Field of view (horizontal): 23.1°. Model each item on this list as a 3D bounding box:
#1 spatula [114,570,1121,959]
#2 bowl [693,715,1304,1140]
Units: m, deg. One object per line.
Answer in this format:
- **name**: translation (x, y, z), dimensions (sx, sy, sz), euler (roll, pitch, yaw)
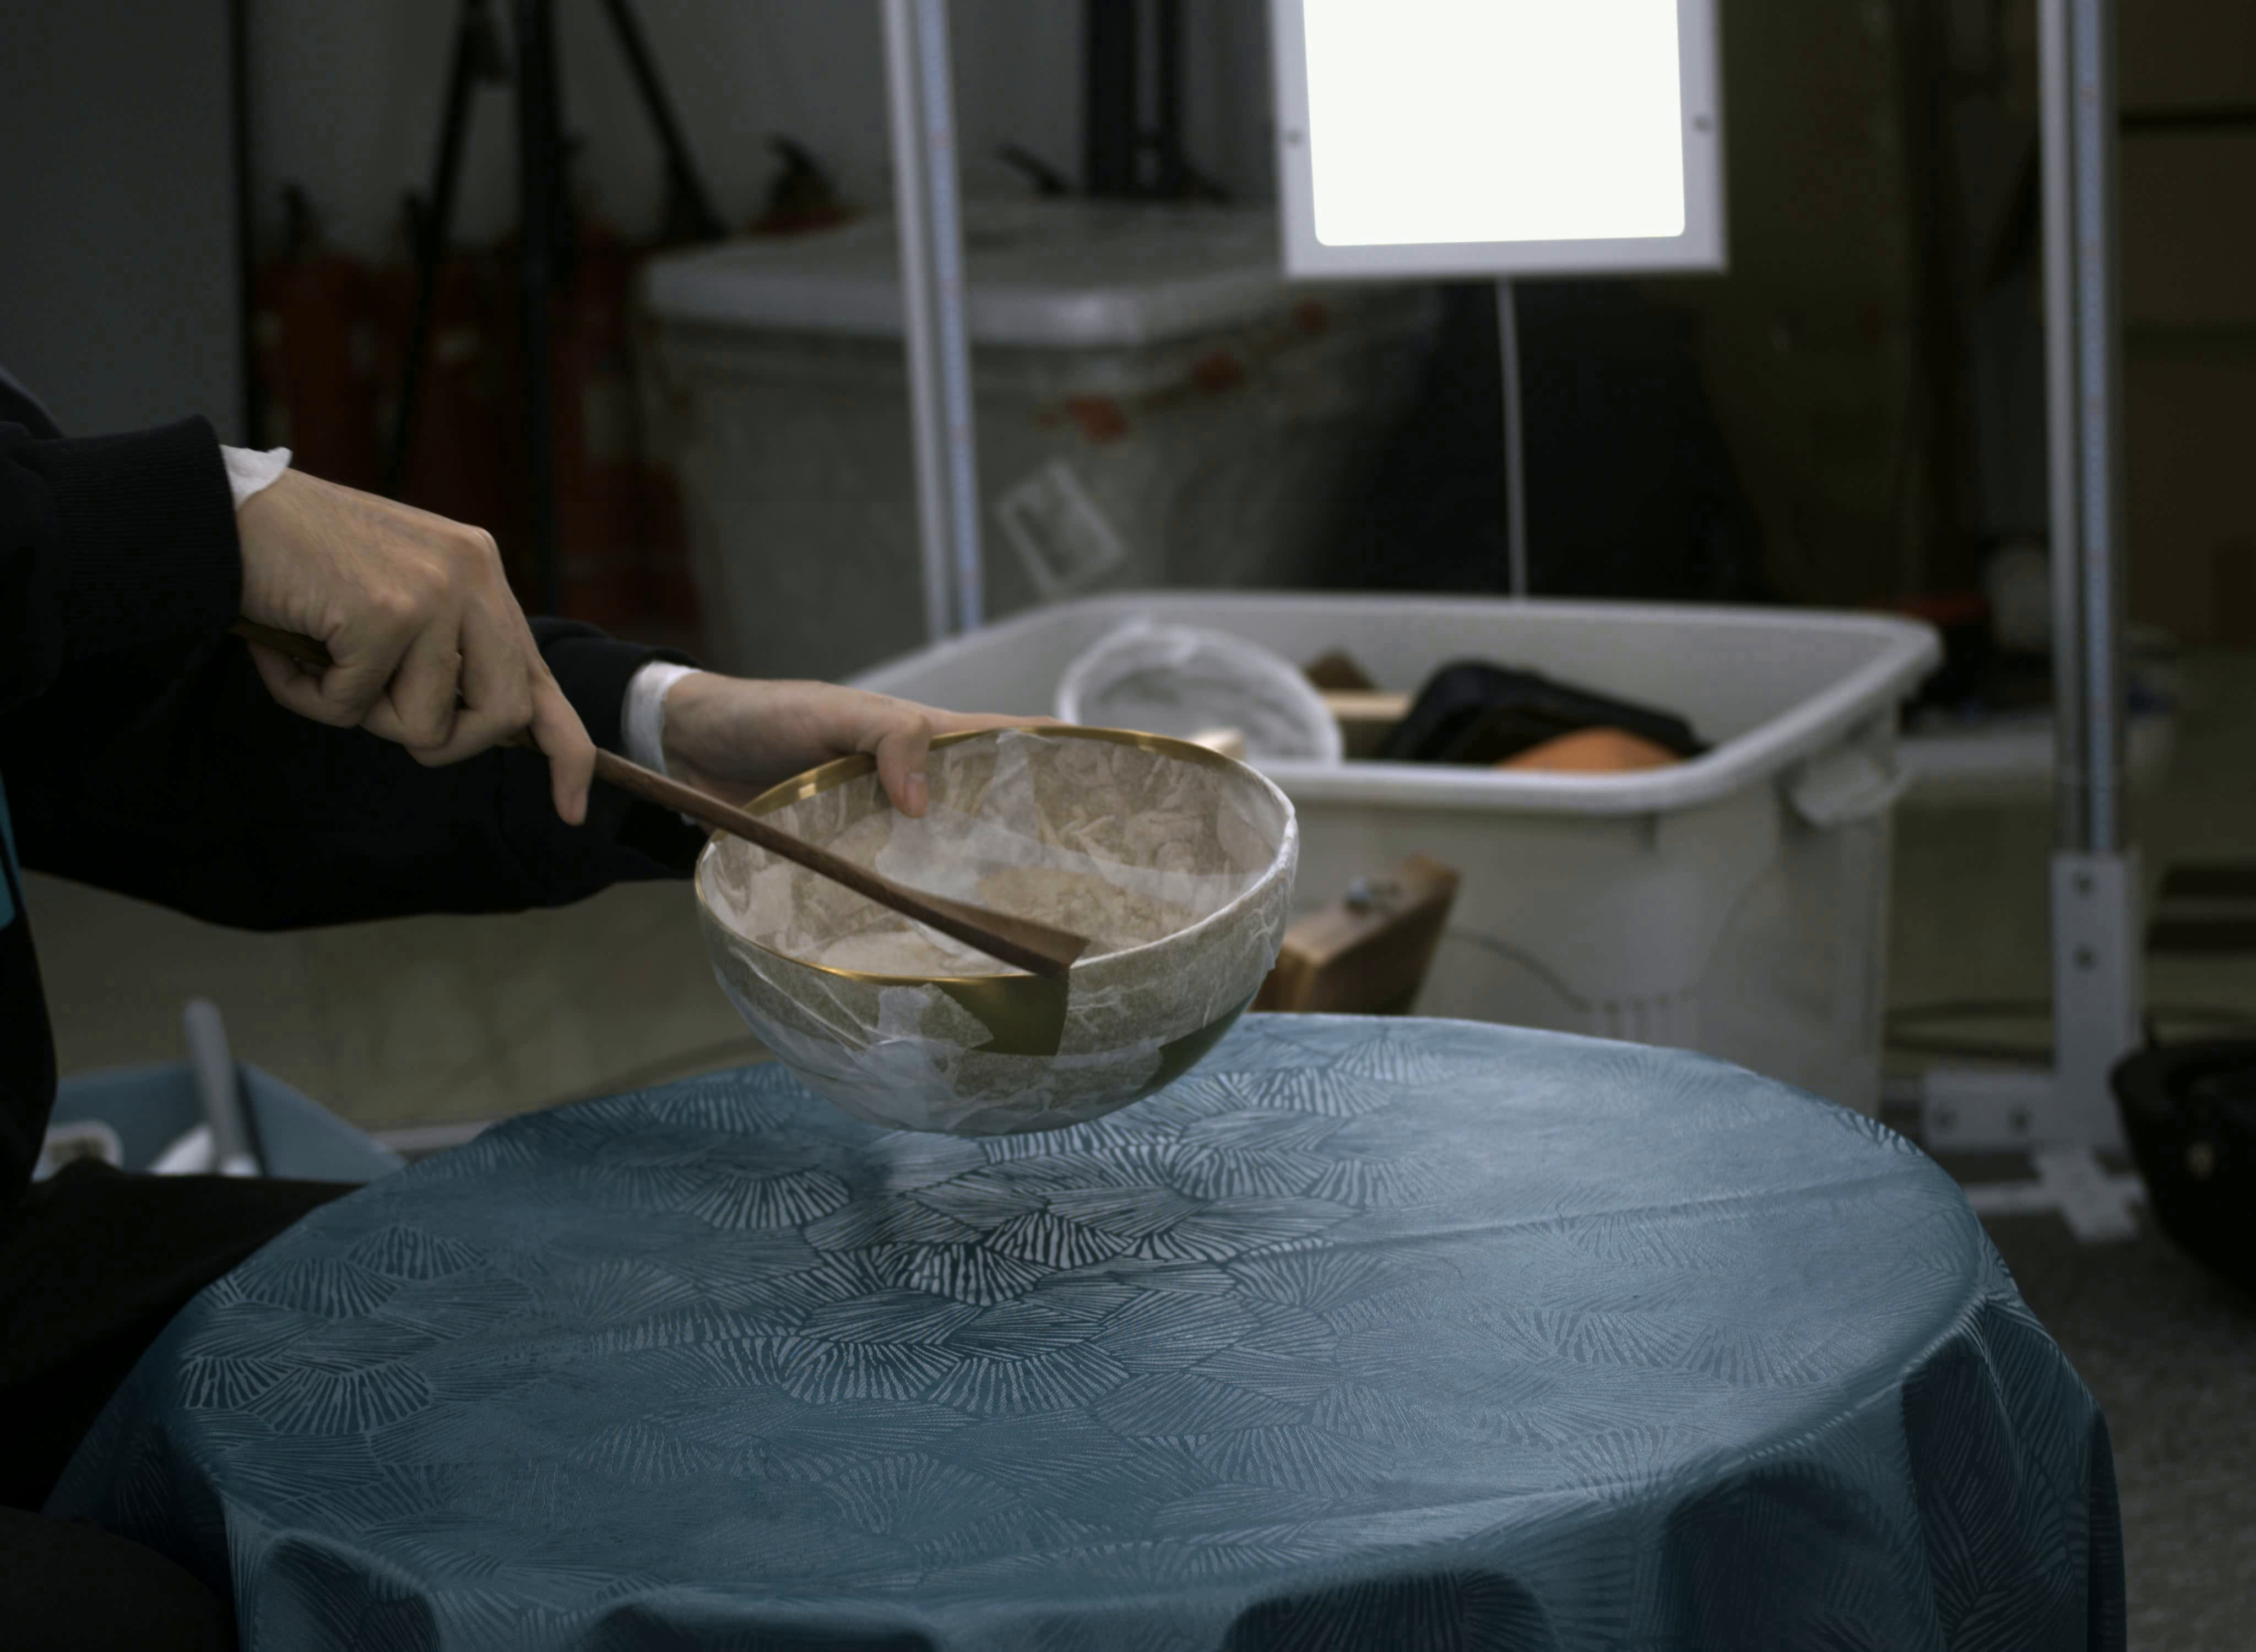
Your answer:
- **spatula**: translation (-0.147, -0.012, 1.791), dimensions (0.381, 0.016, 0.097), euler (22, 4, -15)
- **bowl**: translation (-0.041, 0.045, 1.846), dimensions (0.214, 0.095, 0.214), euler (-8, 24, 2)
